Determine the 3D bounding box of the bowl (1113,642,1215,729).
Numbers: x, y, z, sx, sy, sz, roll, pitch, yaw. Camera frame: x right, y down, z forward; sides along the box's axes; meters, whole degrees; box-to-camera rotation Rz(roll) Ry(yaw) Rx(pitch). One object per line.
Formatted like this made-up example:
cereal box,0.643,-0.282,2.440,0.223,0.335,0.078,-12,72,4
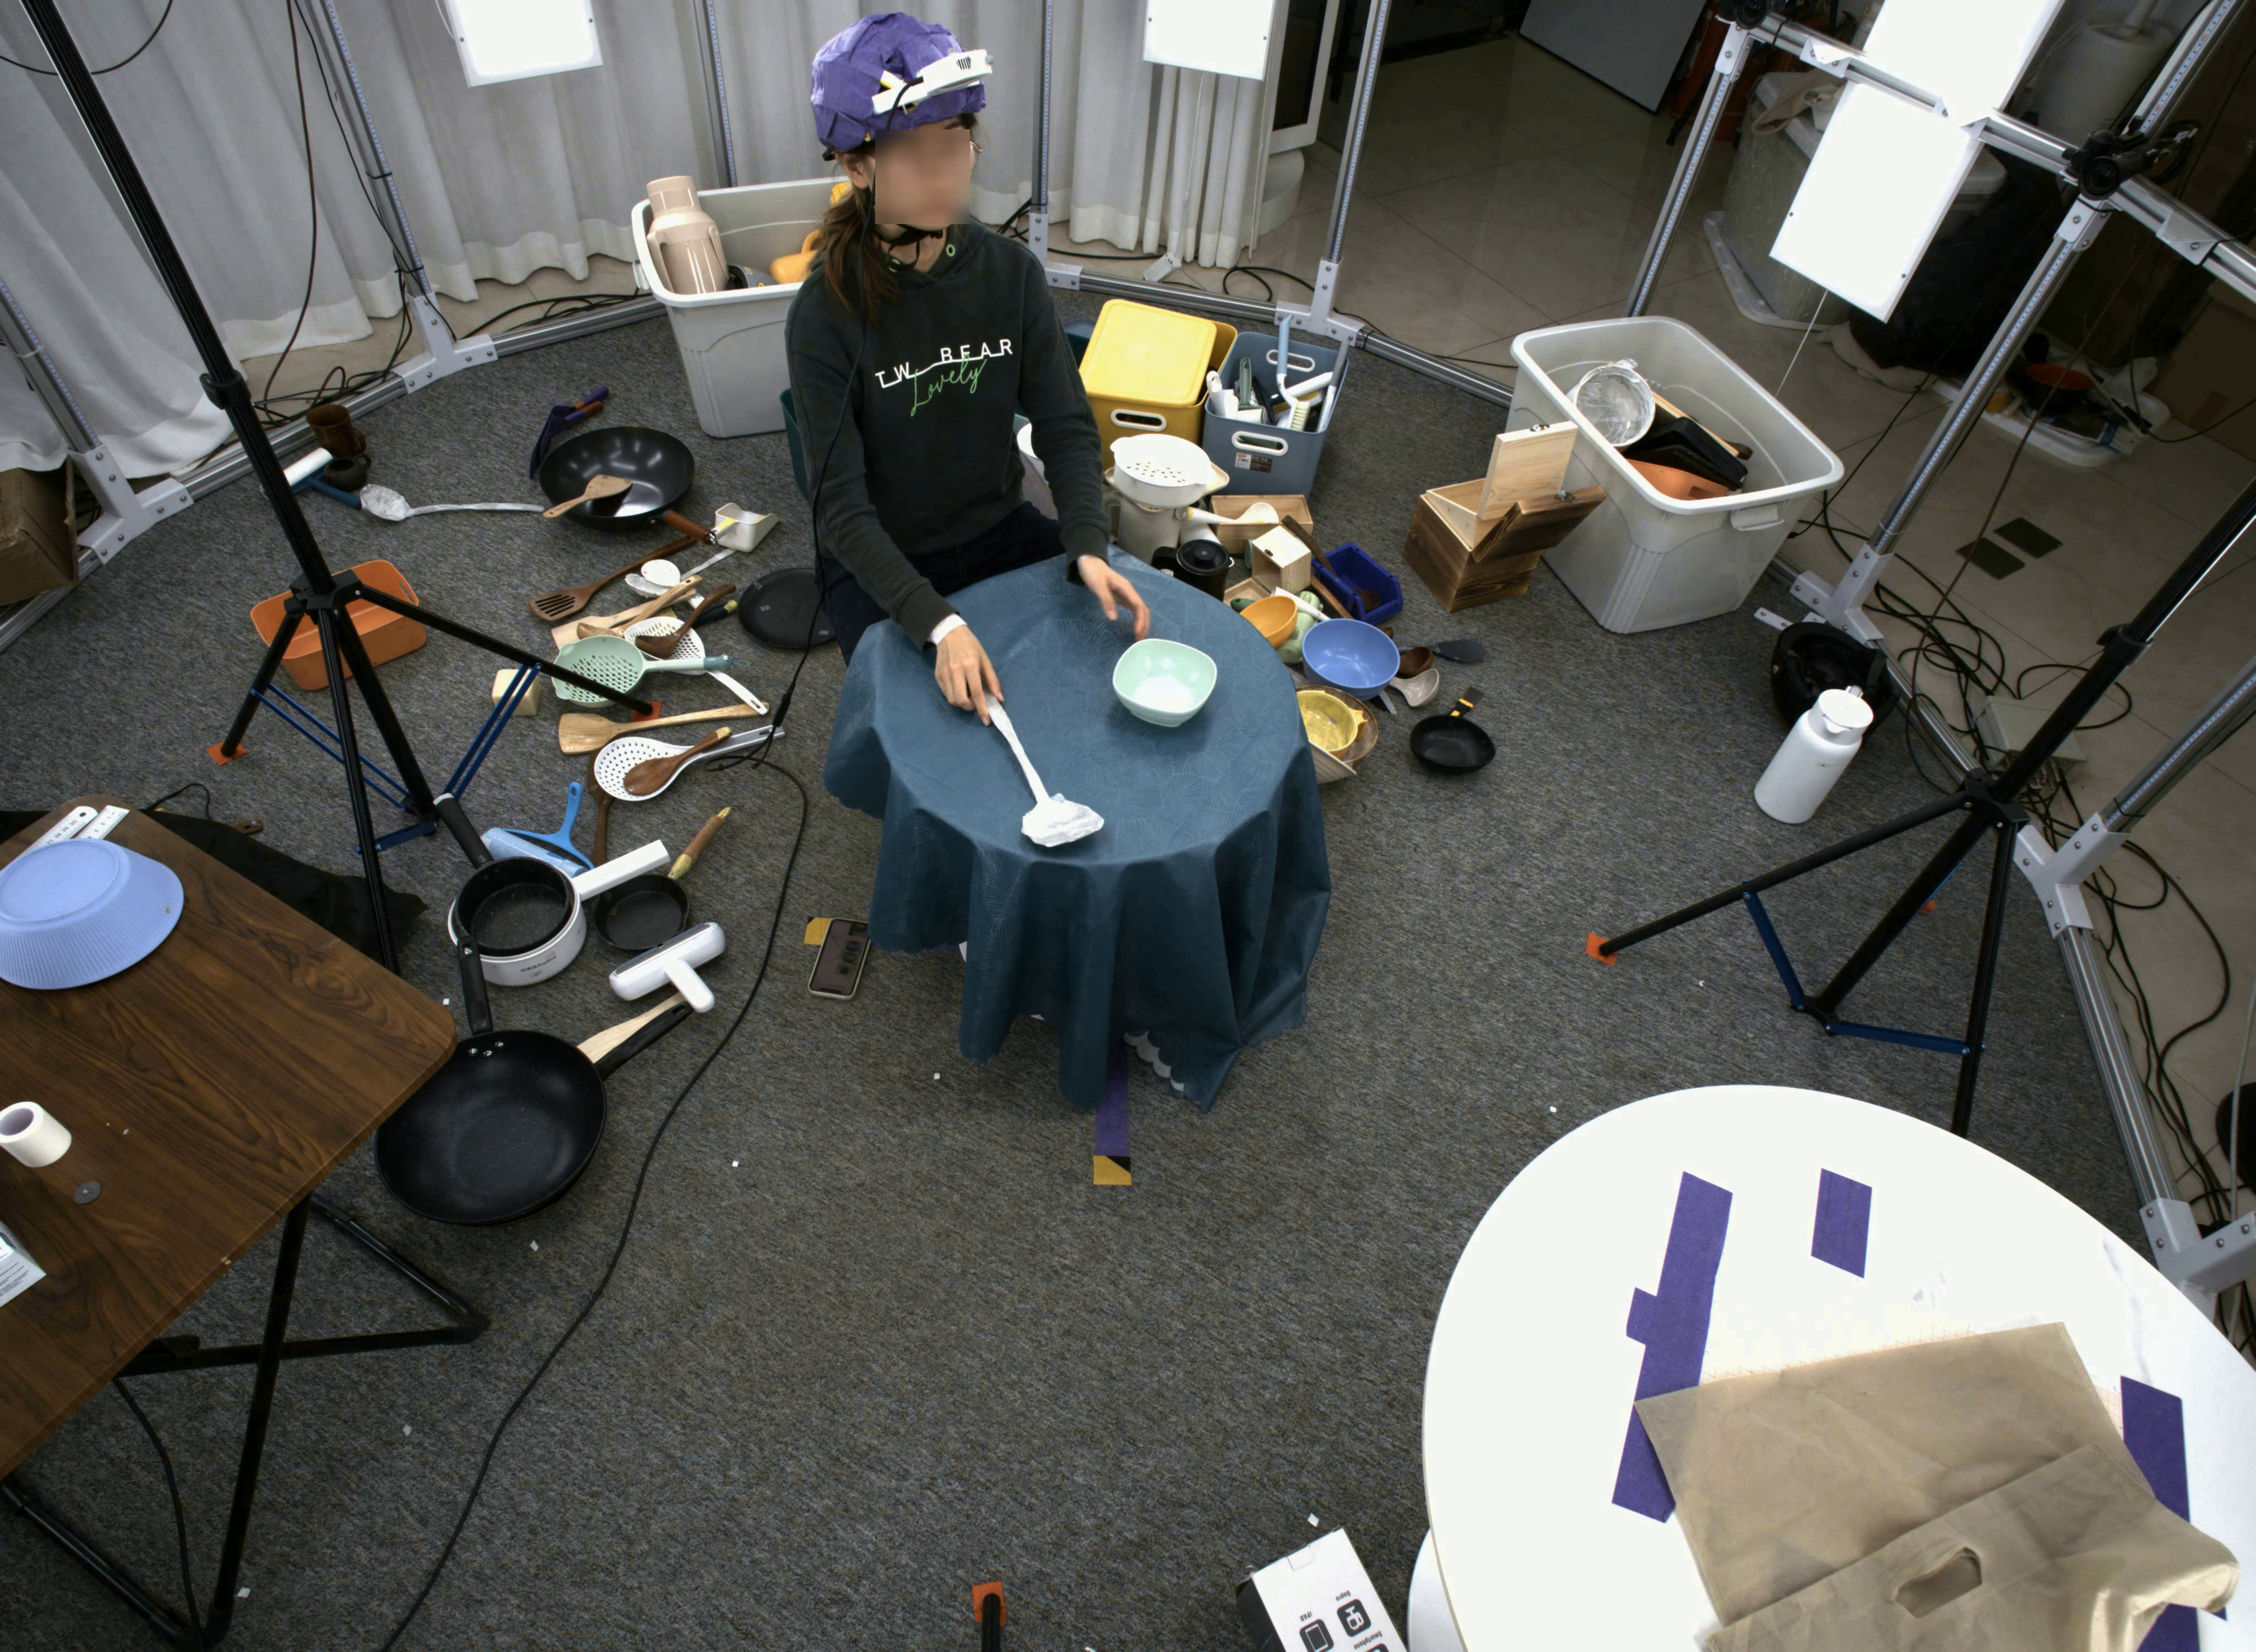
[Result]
bowl,0.049,-0.190,1.820,0.151,0.057,0.155,3,49,-4

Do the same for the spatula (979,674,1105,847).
spatula,-0.140,-0.100,1.736,0.099,0.043,0.373,-18,52,-16
